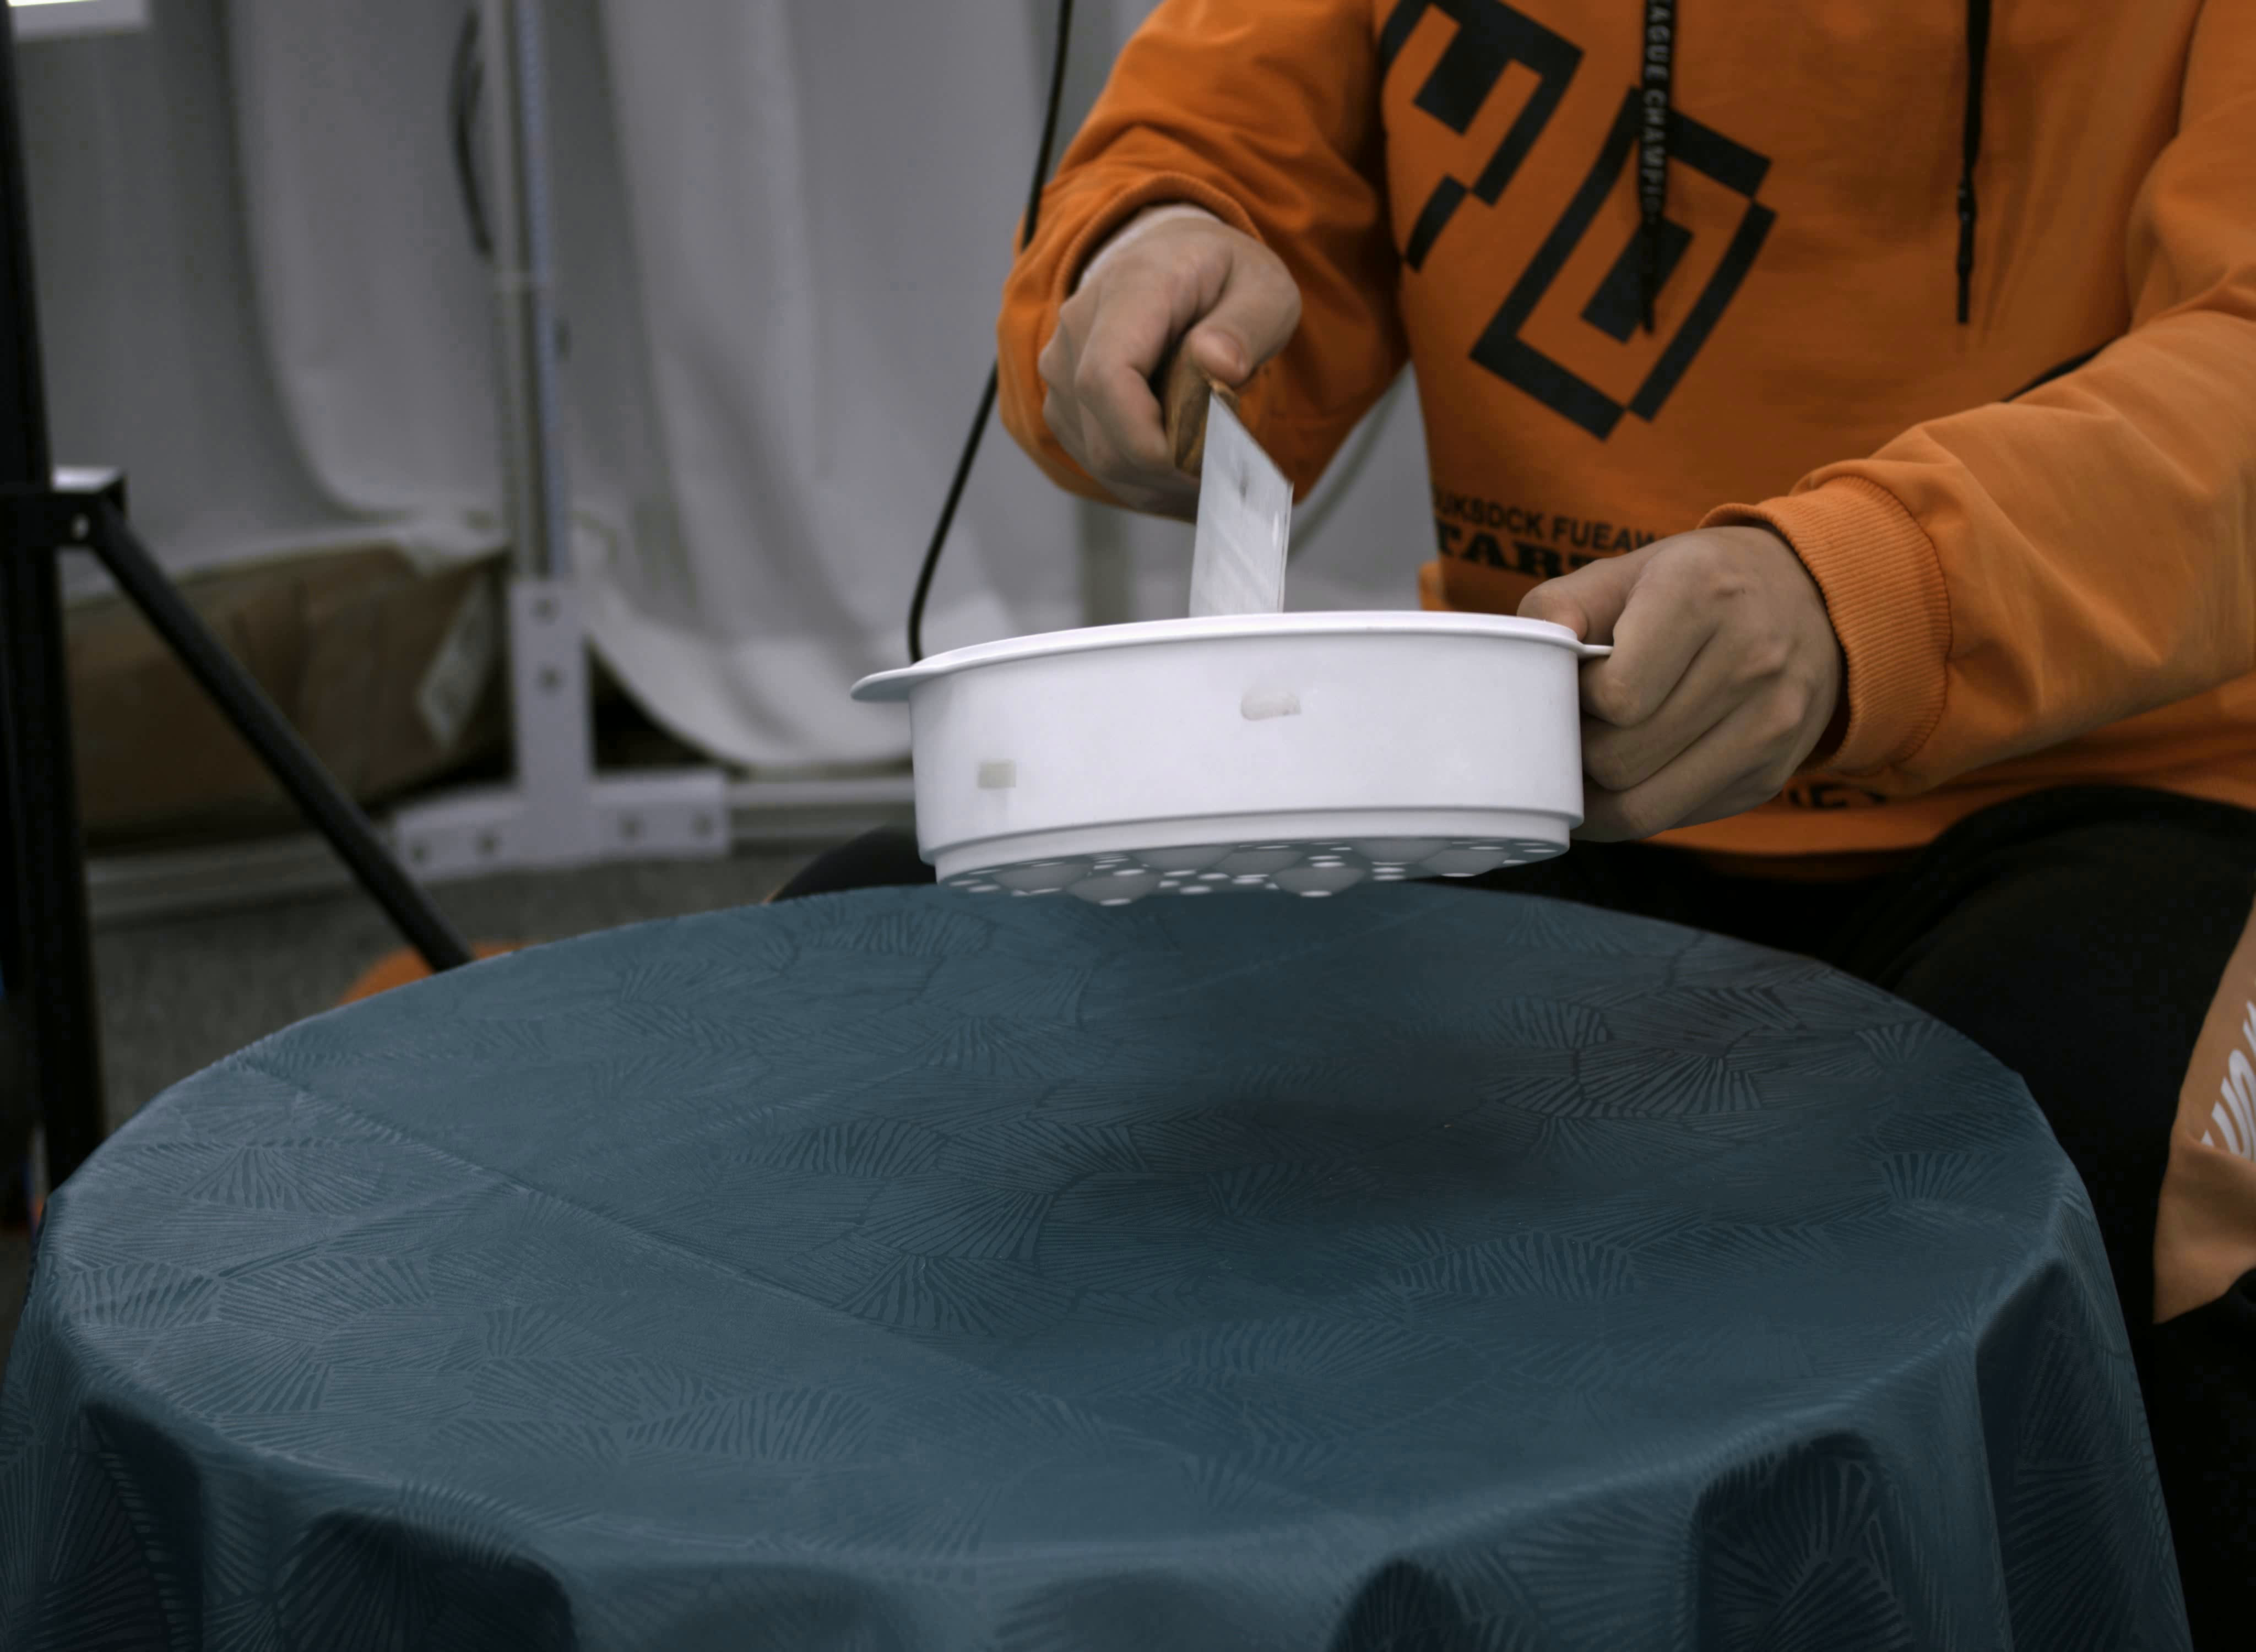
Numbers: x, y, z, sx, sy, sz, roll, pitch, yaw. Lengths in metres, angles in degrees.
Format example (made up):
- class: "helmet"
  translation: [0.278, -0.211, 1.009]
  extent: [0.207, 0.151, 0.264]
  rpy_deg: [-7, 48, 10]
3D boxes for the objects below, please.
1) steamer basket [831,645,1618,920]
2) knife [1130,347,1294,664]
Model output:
- class: "steamer basket"
  translation: [0.030, -0.011, 1.540]
  extent: [0.227, 0.069, 0.203]
  rpy_deg: [-4, -1, -11]
- class: "knife"
  translation: [0.026, -0.090, 1.630]
  extent: [0.021, 0.093, 0.308]
  rpy_deg: [3, 12, -7]
